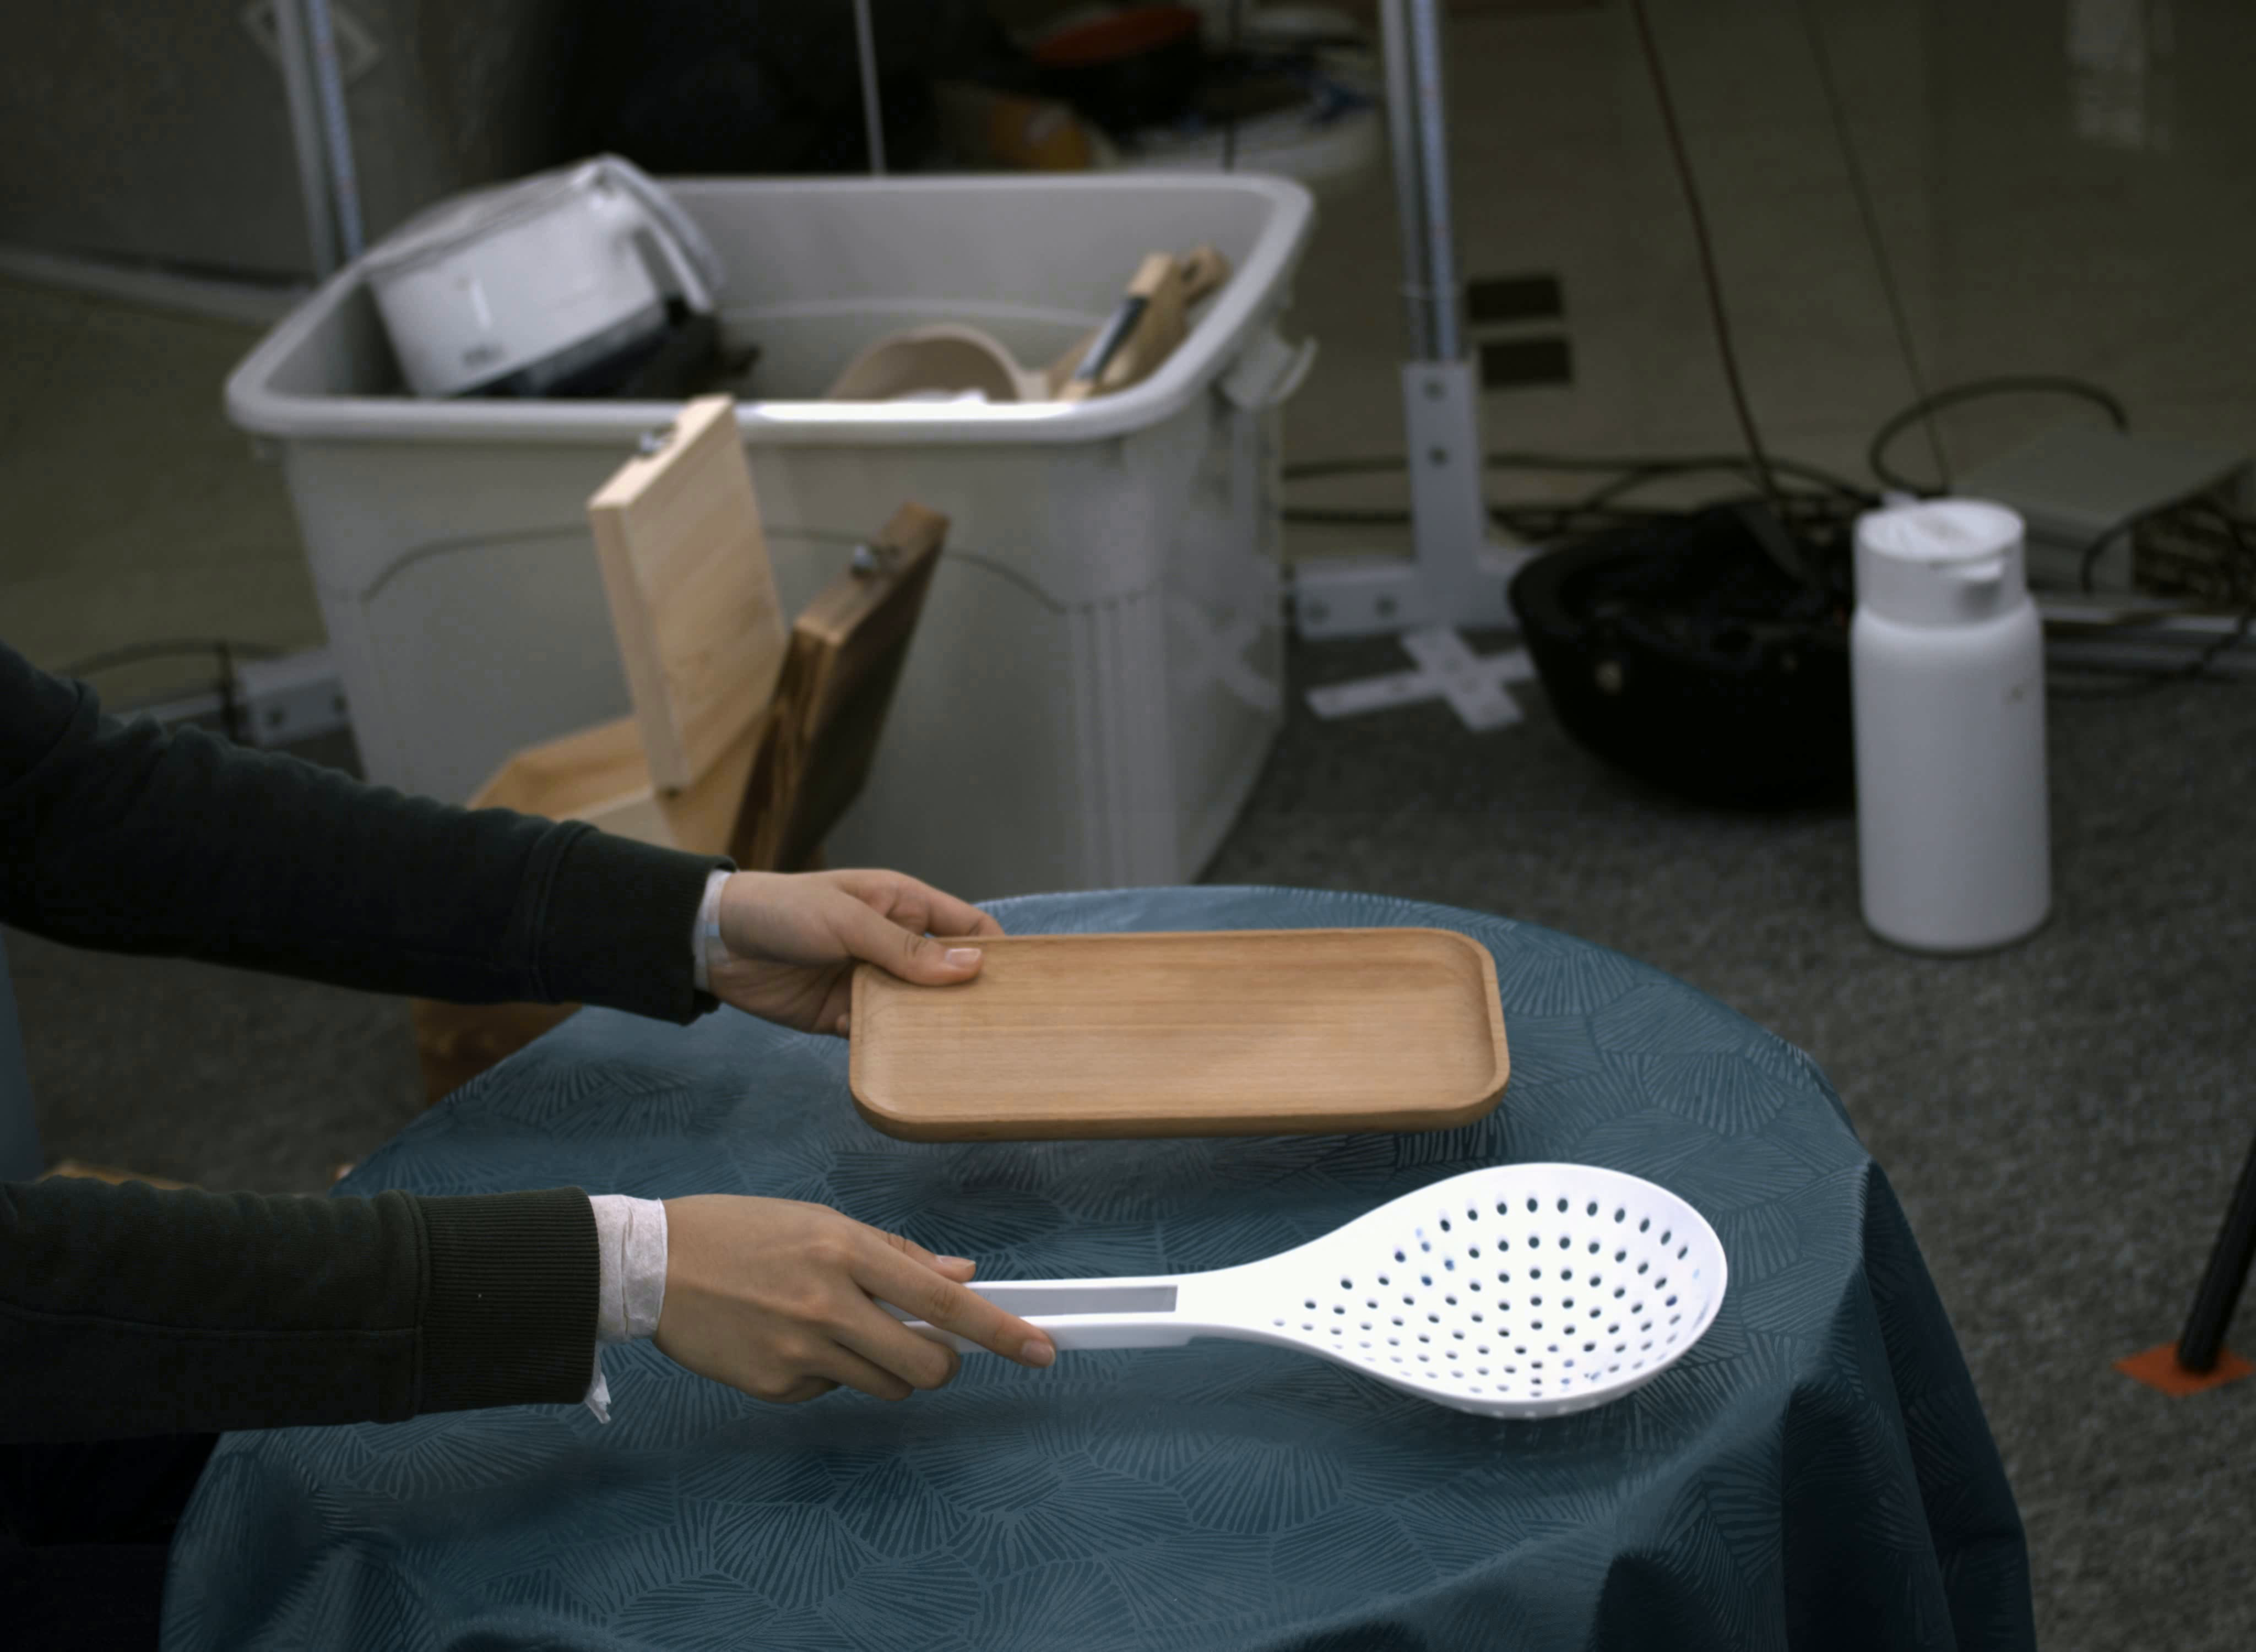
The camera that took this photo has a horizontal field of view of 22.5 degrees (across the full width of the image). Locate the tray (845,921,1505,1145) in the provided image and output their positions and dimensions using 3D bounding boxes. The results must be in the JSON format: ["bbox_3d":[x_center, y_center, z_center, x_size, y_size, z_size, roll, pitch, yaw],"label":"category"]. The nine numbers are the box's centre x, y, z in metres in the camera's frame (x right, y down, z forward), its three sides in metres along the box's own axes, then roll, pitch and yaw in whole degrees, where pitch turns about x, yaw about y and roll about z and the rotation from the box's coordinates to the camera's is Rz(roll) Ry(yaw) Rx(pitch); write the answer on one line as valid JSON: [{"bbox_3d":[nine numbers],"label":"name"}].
[{"bbox_3d":[0.017,0.080,2.172,0.250,0.023,0.128,-2,31,0],"label":"tray"}]

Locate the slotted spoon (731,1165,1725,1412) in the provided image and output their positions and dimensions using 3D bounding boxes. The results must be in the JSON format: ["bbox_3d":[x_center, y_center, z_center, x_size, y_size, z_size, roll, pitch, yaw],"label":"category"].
[{"bbox_3d":[0.033,0.168,1.995,0.349,0.046,0.134,1,32,4],"label":"slotted spoon"}]
